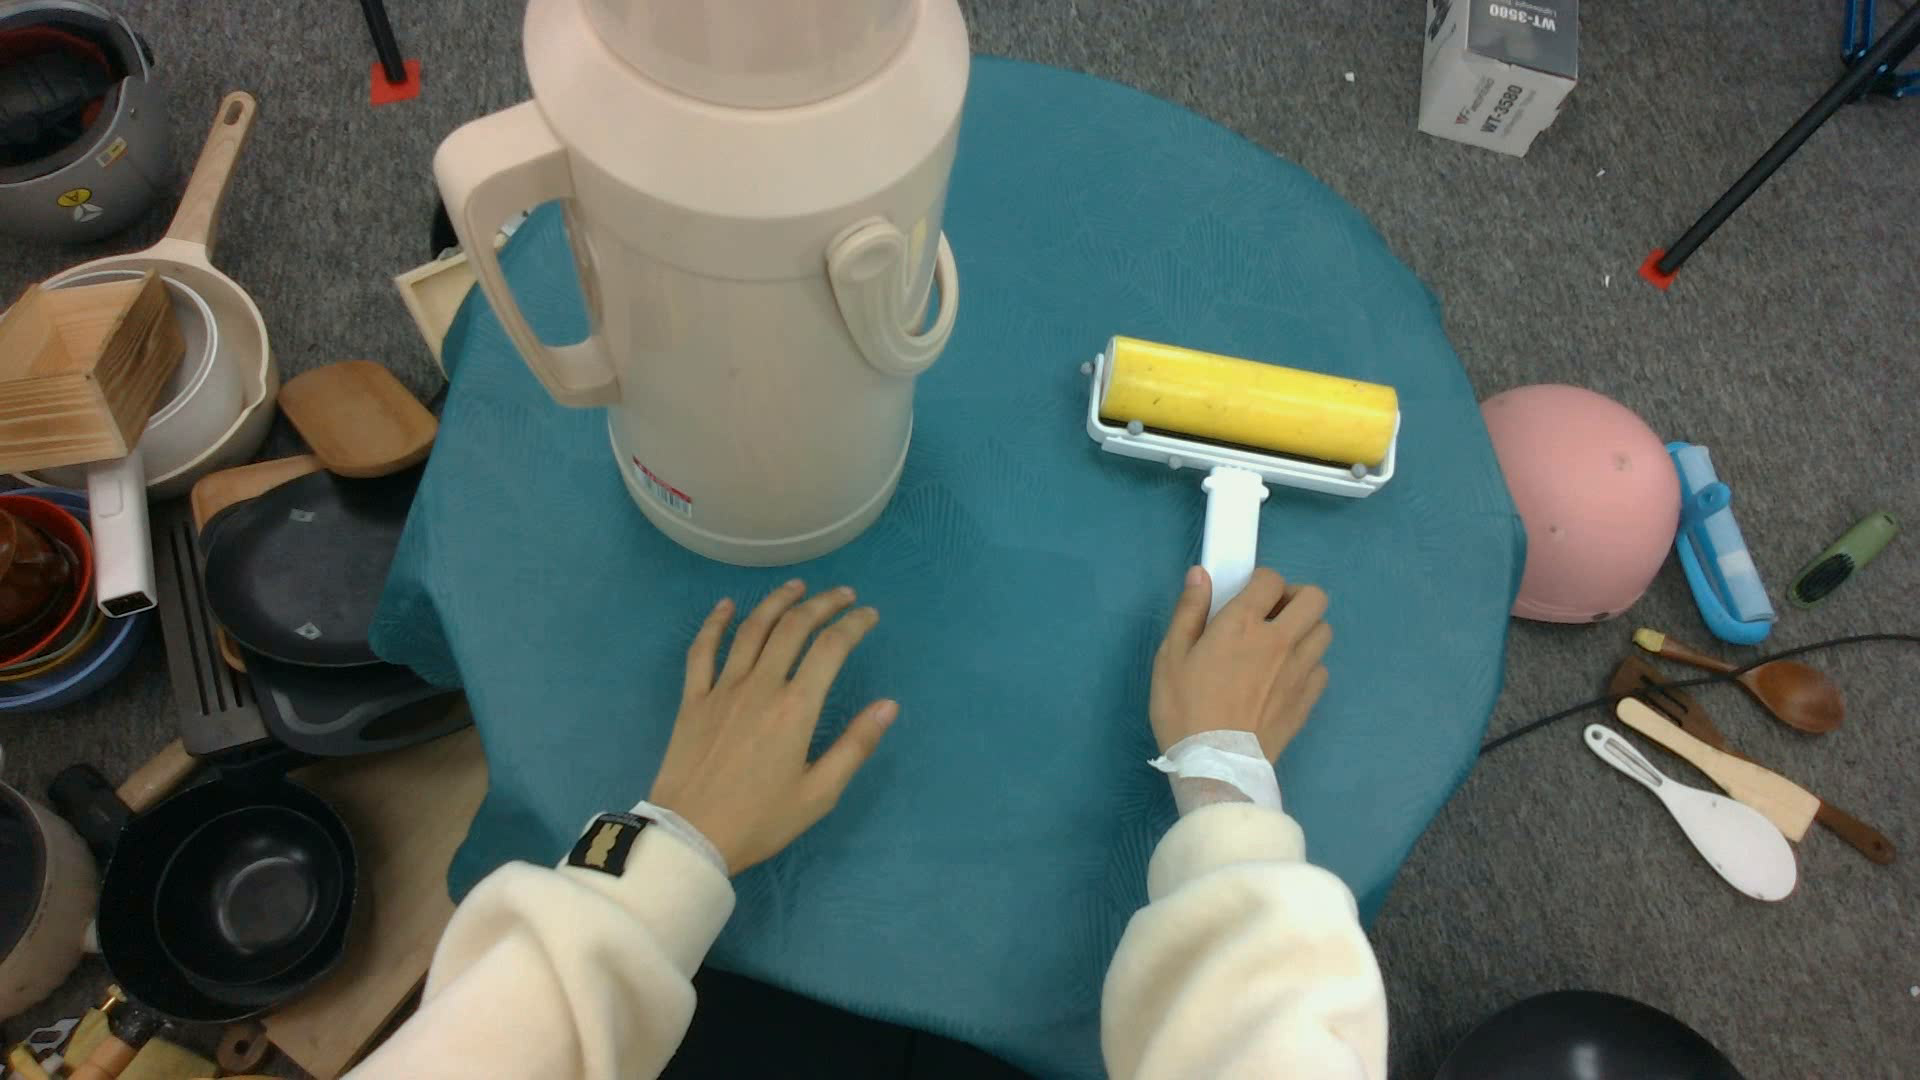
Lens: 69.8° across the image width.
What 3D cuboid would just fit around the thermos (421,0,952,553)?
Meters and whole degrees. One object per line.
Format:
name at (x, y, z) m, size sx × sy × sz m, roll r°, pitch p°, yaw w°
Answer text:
thermos at (-0.103, -0.139, 0.575) m, size 0.207 × 0.404 × 0.175 m, roll -29°, pitch 73°, yaw -18°

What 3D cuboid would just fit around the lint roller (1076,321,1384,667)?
lint roller at (0.146, -0.027, 0.745) m, size 0.174 × 0.051 × 0.193 m, roll 9°, pitch 57°, yaw -4°
